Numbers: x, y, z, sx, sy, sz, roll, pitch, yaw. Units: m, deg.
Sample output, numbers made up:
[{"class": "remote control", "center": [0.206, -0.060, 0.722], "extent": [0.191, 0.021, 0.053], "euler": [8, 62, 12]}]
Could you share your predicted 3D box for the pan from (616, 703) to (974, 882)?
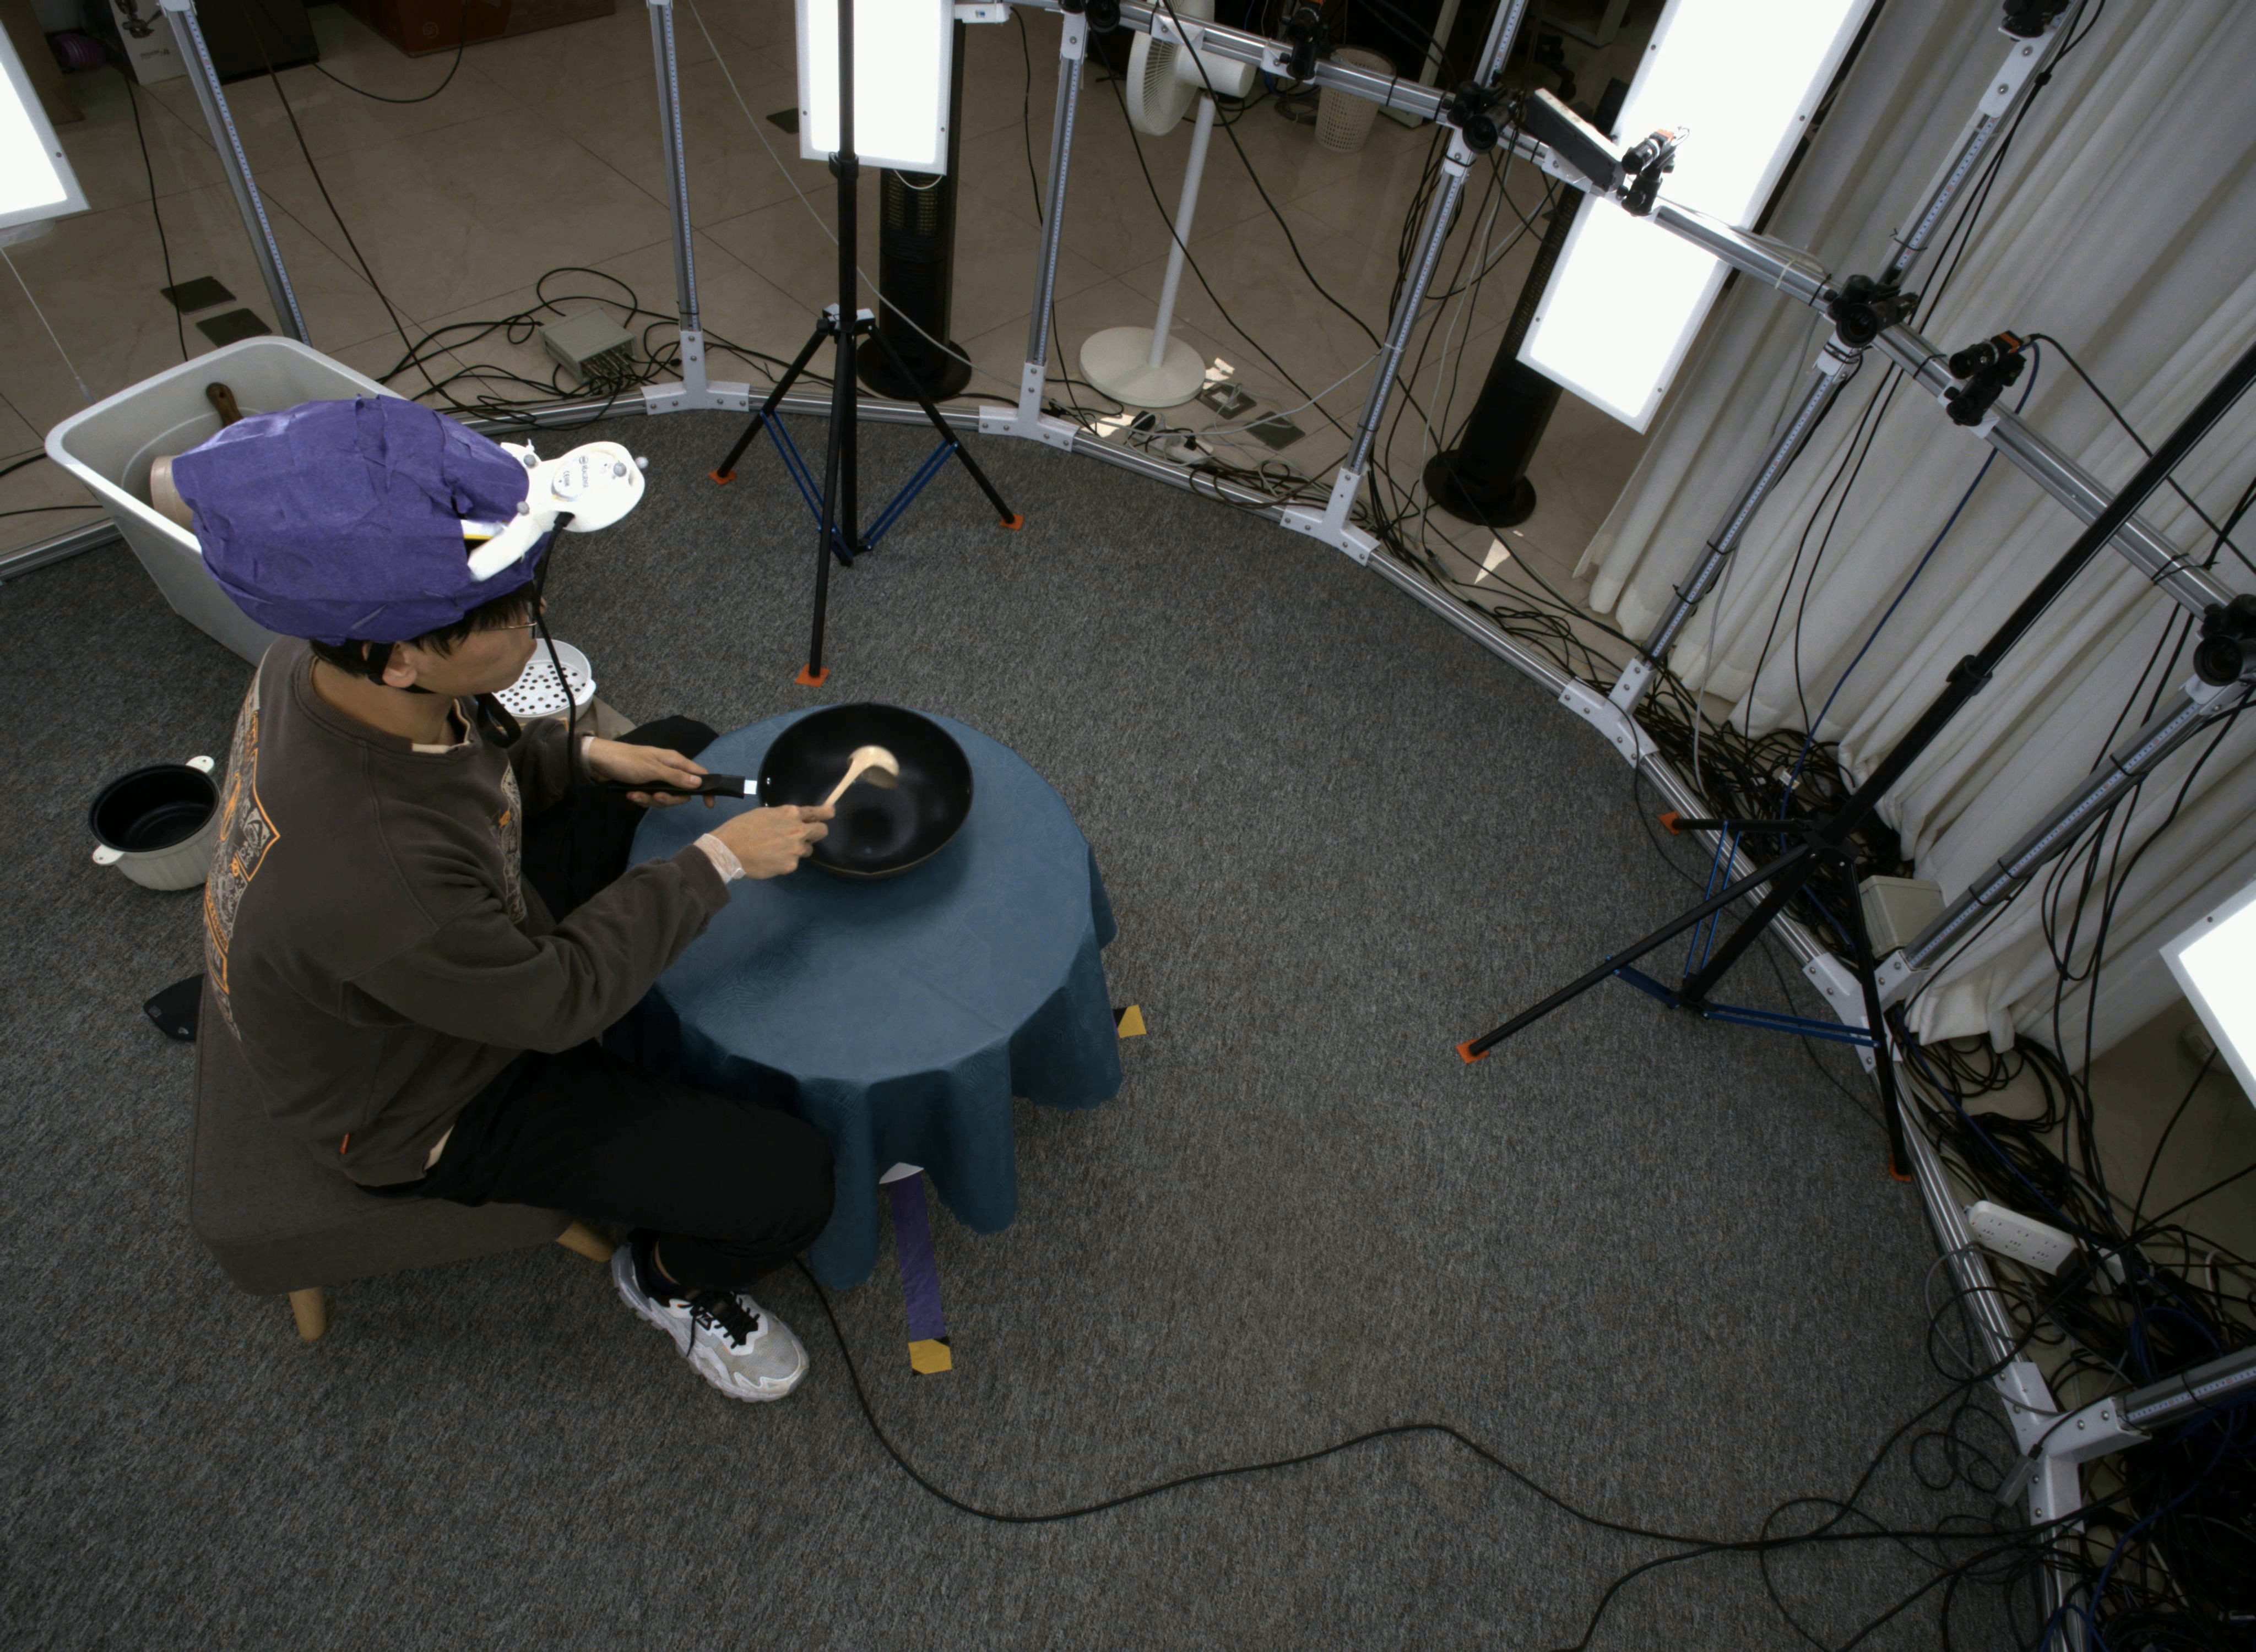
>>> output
[{"class": "pan", "center": [-0.434, -0.031, 1.706], "extent": [0.463, 0.089, 0.282], "euler": [0, 54, -12]}]

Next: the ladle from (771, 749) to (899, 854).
[{"class": "ladle", "center": [-0.377, -0.013, 1.656], "extent": [0.070, 0.075, 0.253], "euler": [20, 42, 13]}]
